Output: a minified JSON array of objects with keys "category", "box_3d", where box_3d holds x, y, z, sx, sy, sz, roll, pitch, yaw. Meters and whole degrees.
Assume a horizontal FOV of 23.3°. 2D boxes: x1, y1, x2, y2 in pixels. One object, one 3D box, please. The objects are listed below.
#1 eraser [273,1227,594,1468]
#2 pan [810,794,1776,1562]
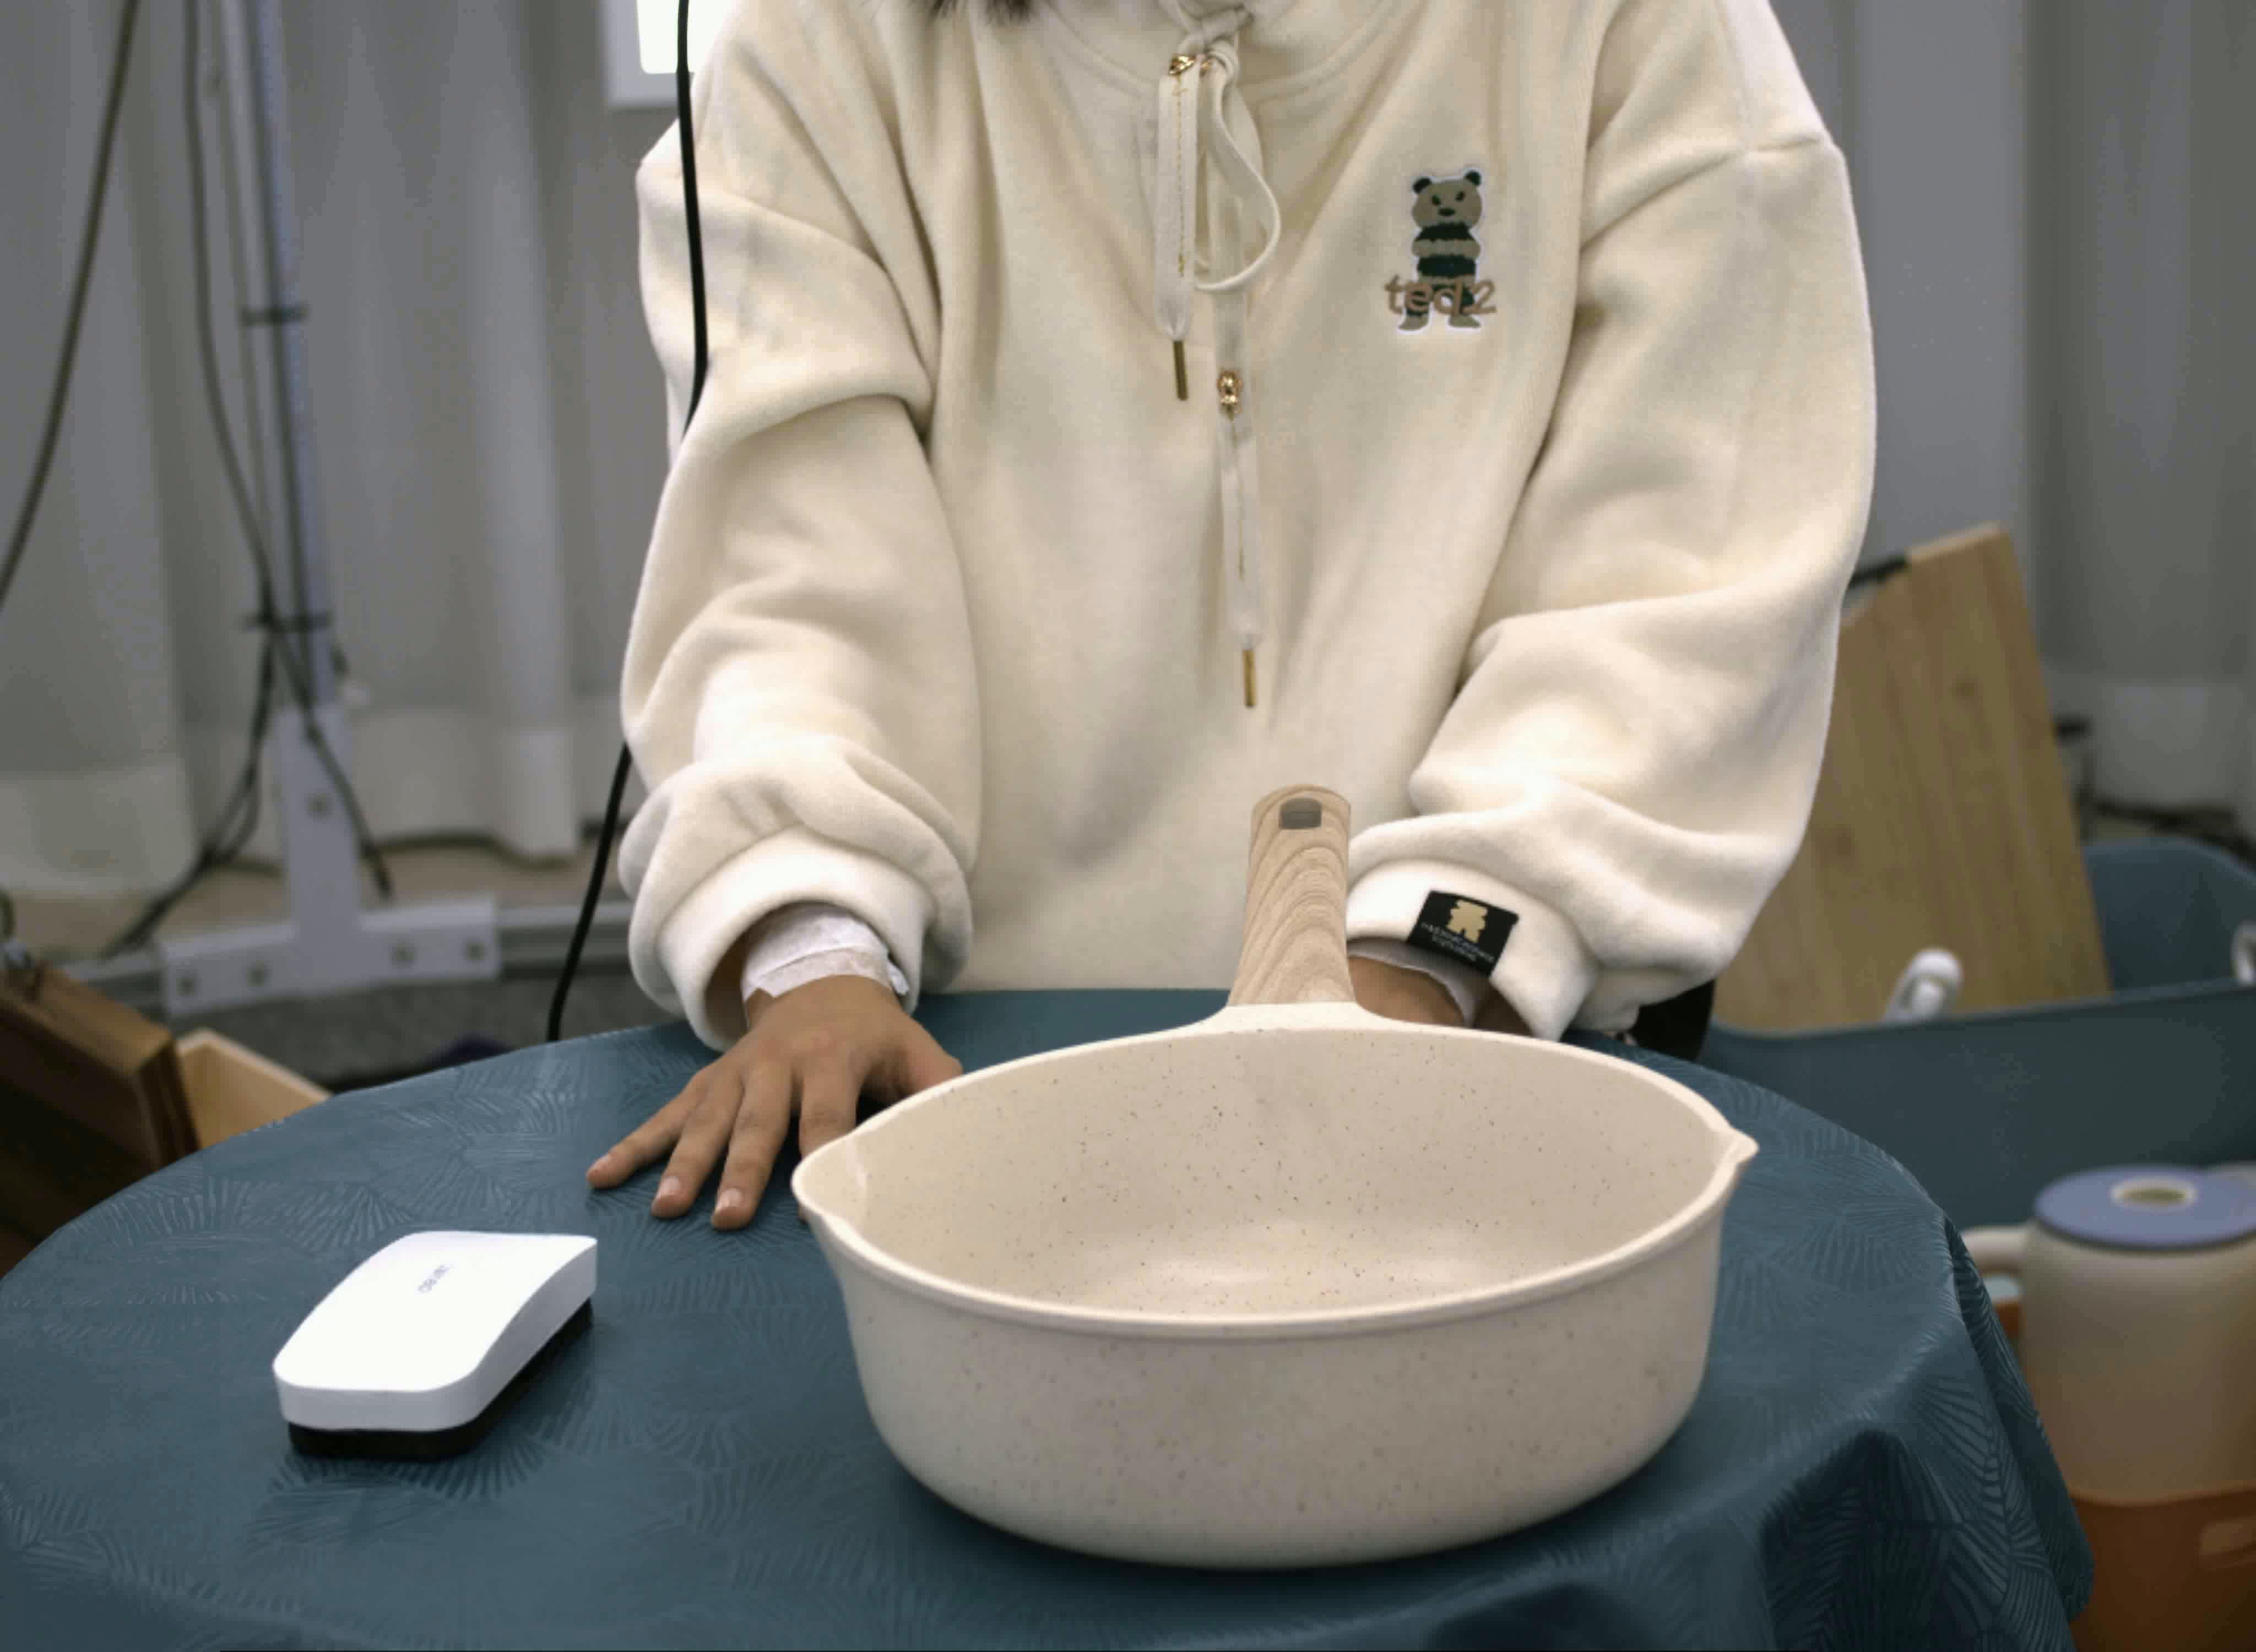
[{"category":"eraser","box_3d":[-0.197,0.146,1.576,0.063,0.034,0.132,3,16,13]},{"category":"pan","box_3d":[0.050,0.096,1.579,0.262,0.101,0.438,-3,15,3]}]
